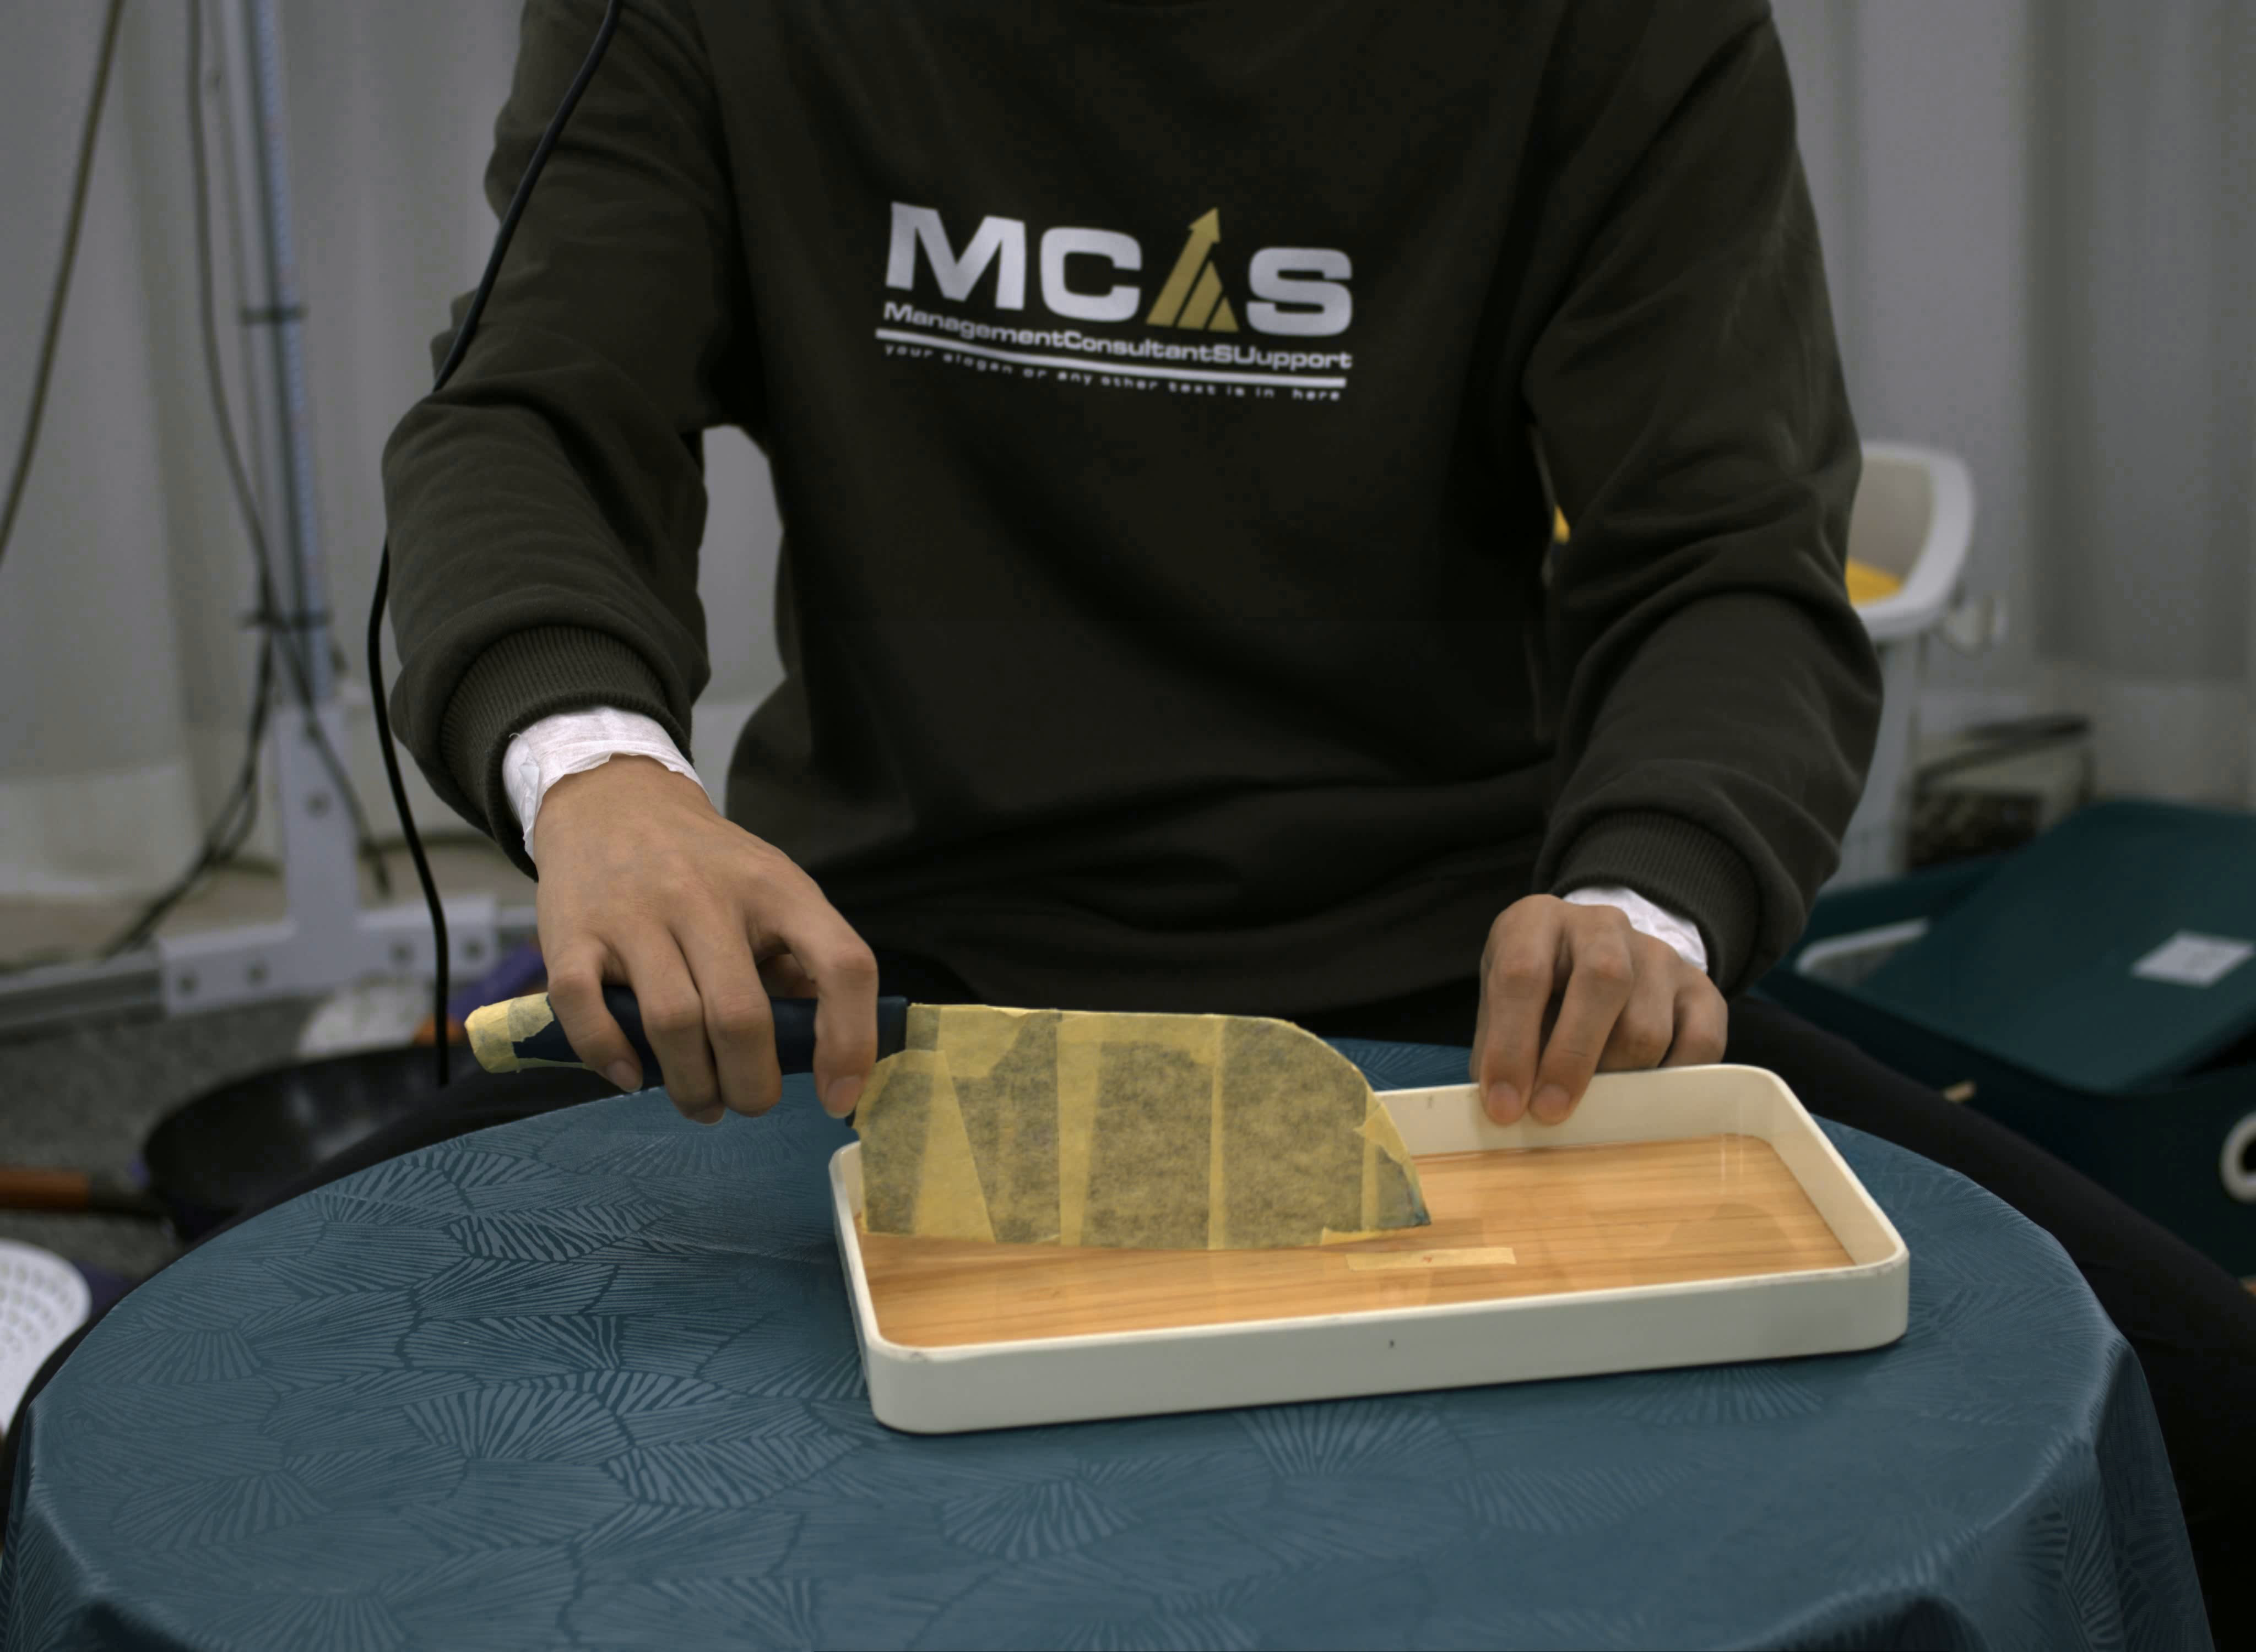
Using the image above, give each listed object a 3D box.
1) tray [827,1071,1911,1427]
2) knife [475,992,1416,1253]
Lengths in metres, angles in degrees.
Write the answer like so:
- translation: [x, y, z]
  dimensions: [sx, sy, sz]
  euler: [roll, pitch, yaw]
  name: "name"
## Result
- translation: [0.066, 0.123, 1.618]
  dimensions: [0.299, 0.027, 0.193]
  euler: [-4, 15, -6]
  name: "tray"
- translation: [-0.056, 0.087, 1.640]
  dimensions: [0.289, 0.081, 0.027]
  euler: [5, 6, 9]
  name: "knife"
